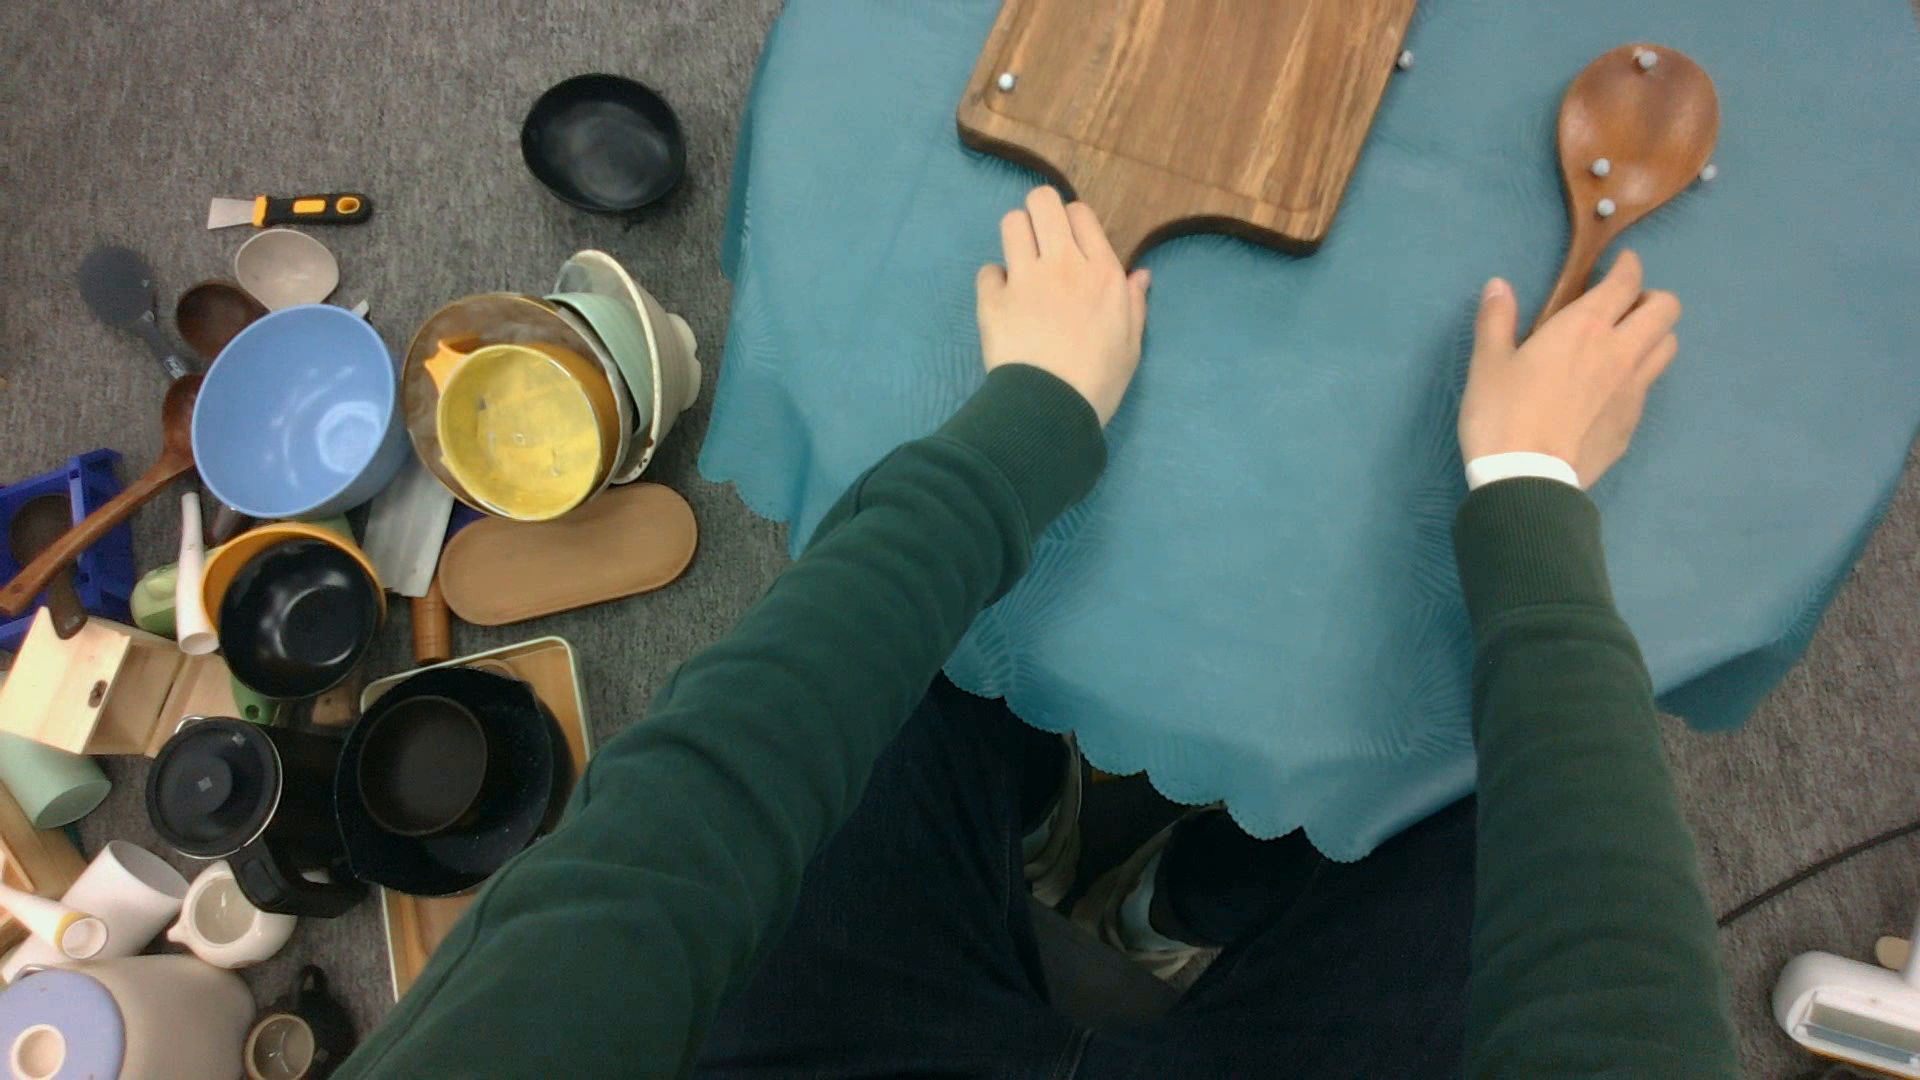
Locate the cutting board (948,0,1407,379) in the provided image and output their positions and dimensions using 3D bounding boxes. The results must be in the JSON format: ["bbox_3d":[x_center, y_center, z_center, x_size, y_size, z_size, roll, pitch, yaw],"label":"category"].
[{"bbox_3d":[0.110,-0.243,0.707,0.201,0.023,0.353,21,78,8],"label":"cutting board"}]

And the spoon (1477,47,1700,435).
[{"bbox_3d":[0.298,-0.146,0.669,0.075,0.017,0.216,24,78,8],"label":"spoon"}]
